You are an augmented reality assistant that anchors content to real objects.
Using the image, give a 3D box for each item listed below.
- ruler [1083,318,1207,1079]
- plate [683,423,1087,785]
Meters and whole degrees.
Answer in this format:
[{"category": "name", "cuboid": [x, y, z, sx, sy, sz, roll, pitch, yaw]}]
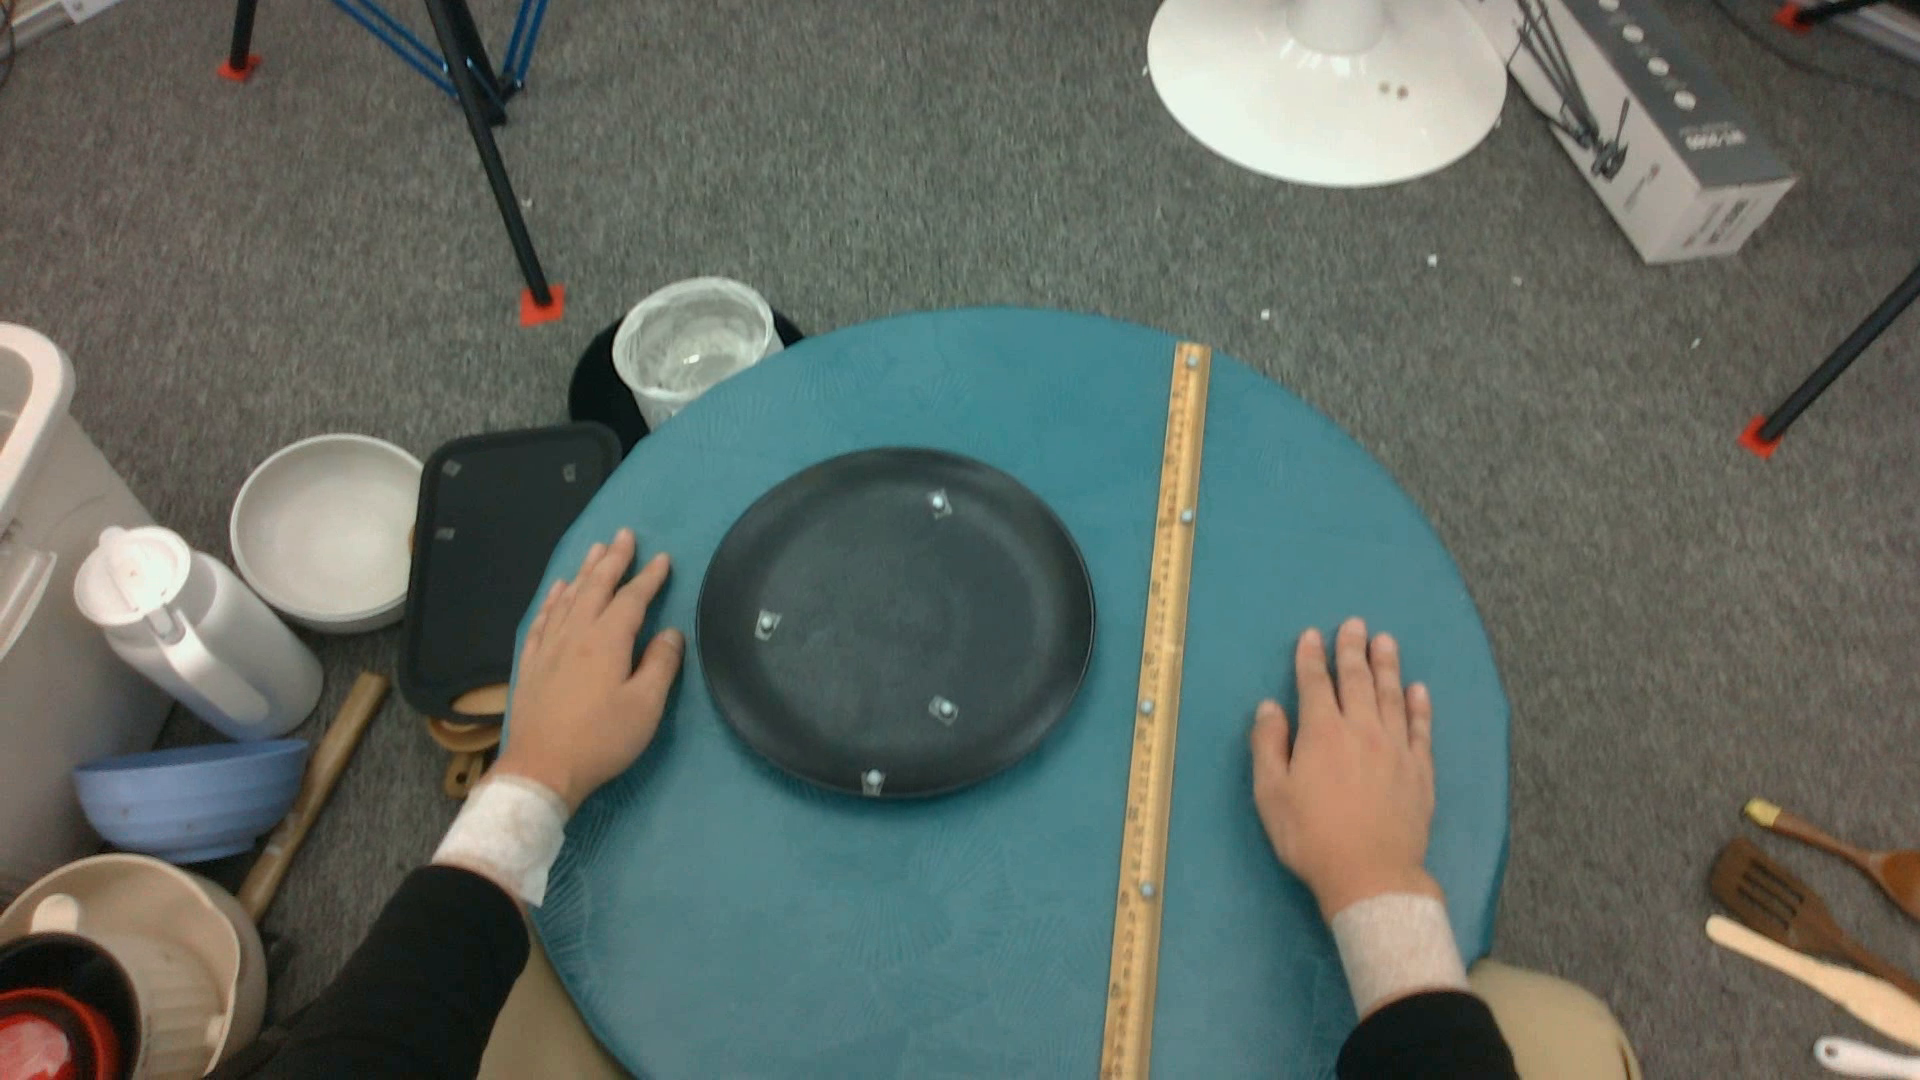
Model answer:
[{"category": "ruler", "cuboid": [0.117, 0.063, 0.836, 0.027, 0.006, 0.502, 8, 61, 5]}, {"category": "plate", "cuboid": [-0.045, 0.035, 0.839, 0.244, 0.023, 0.245, 0, 61, 0]}]
